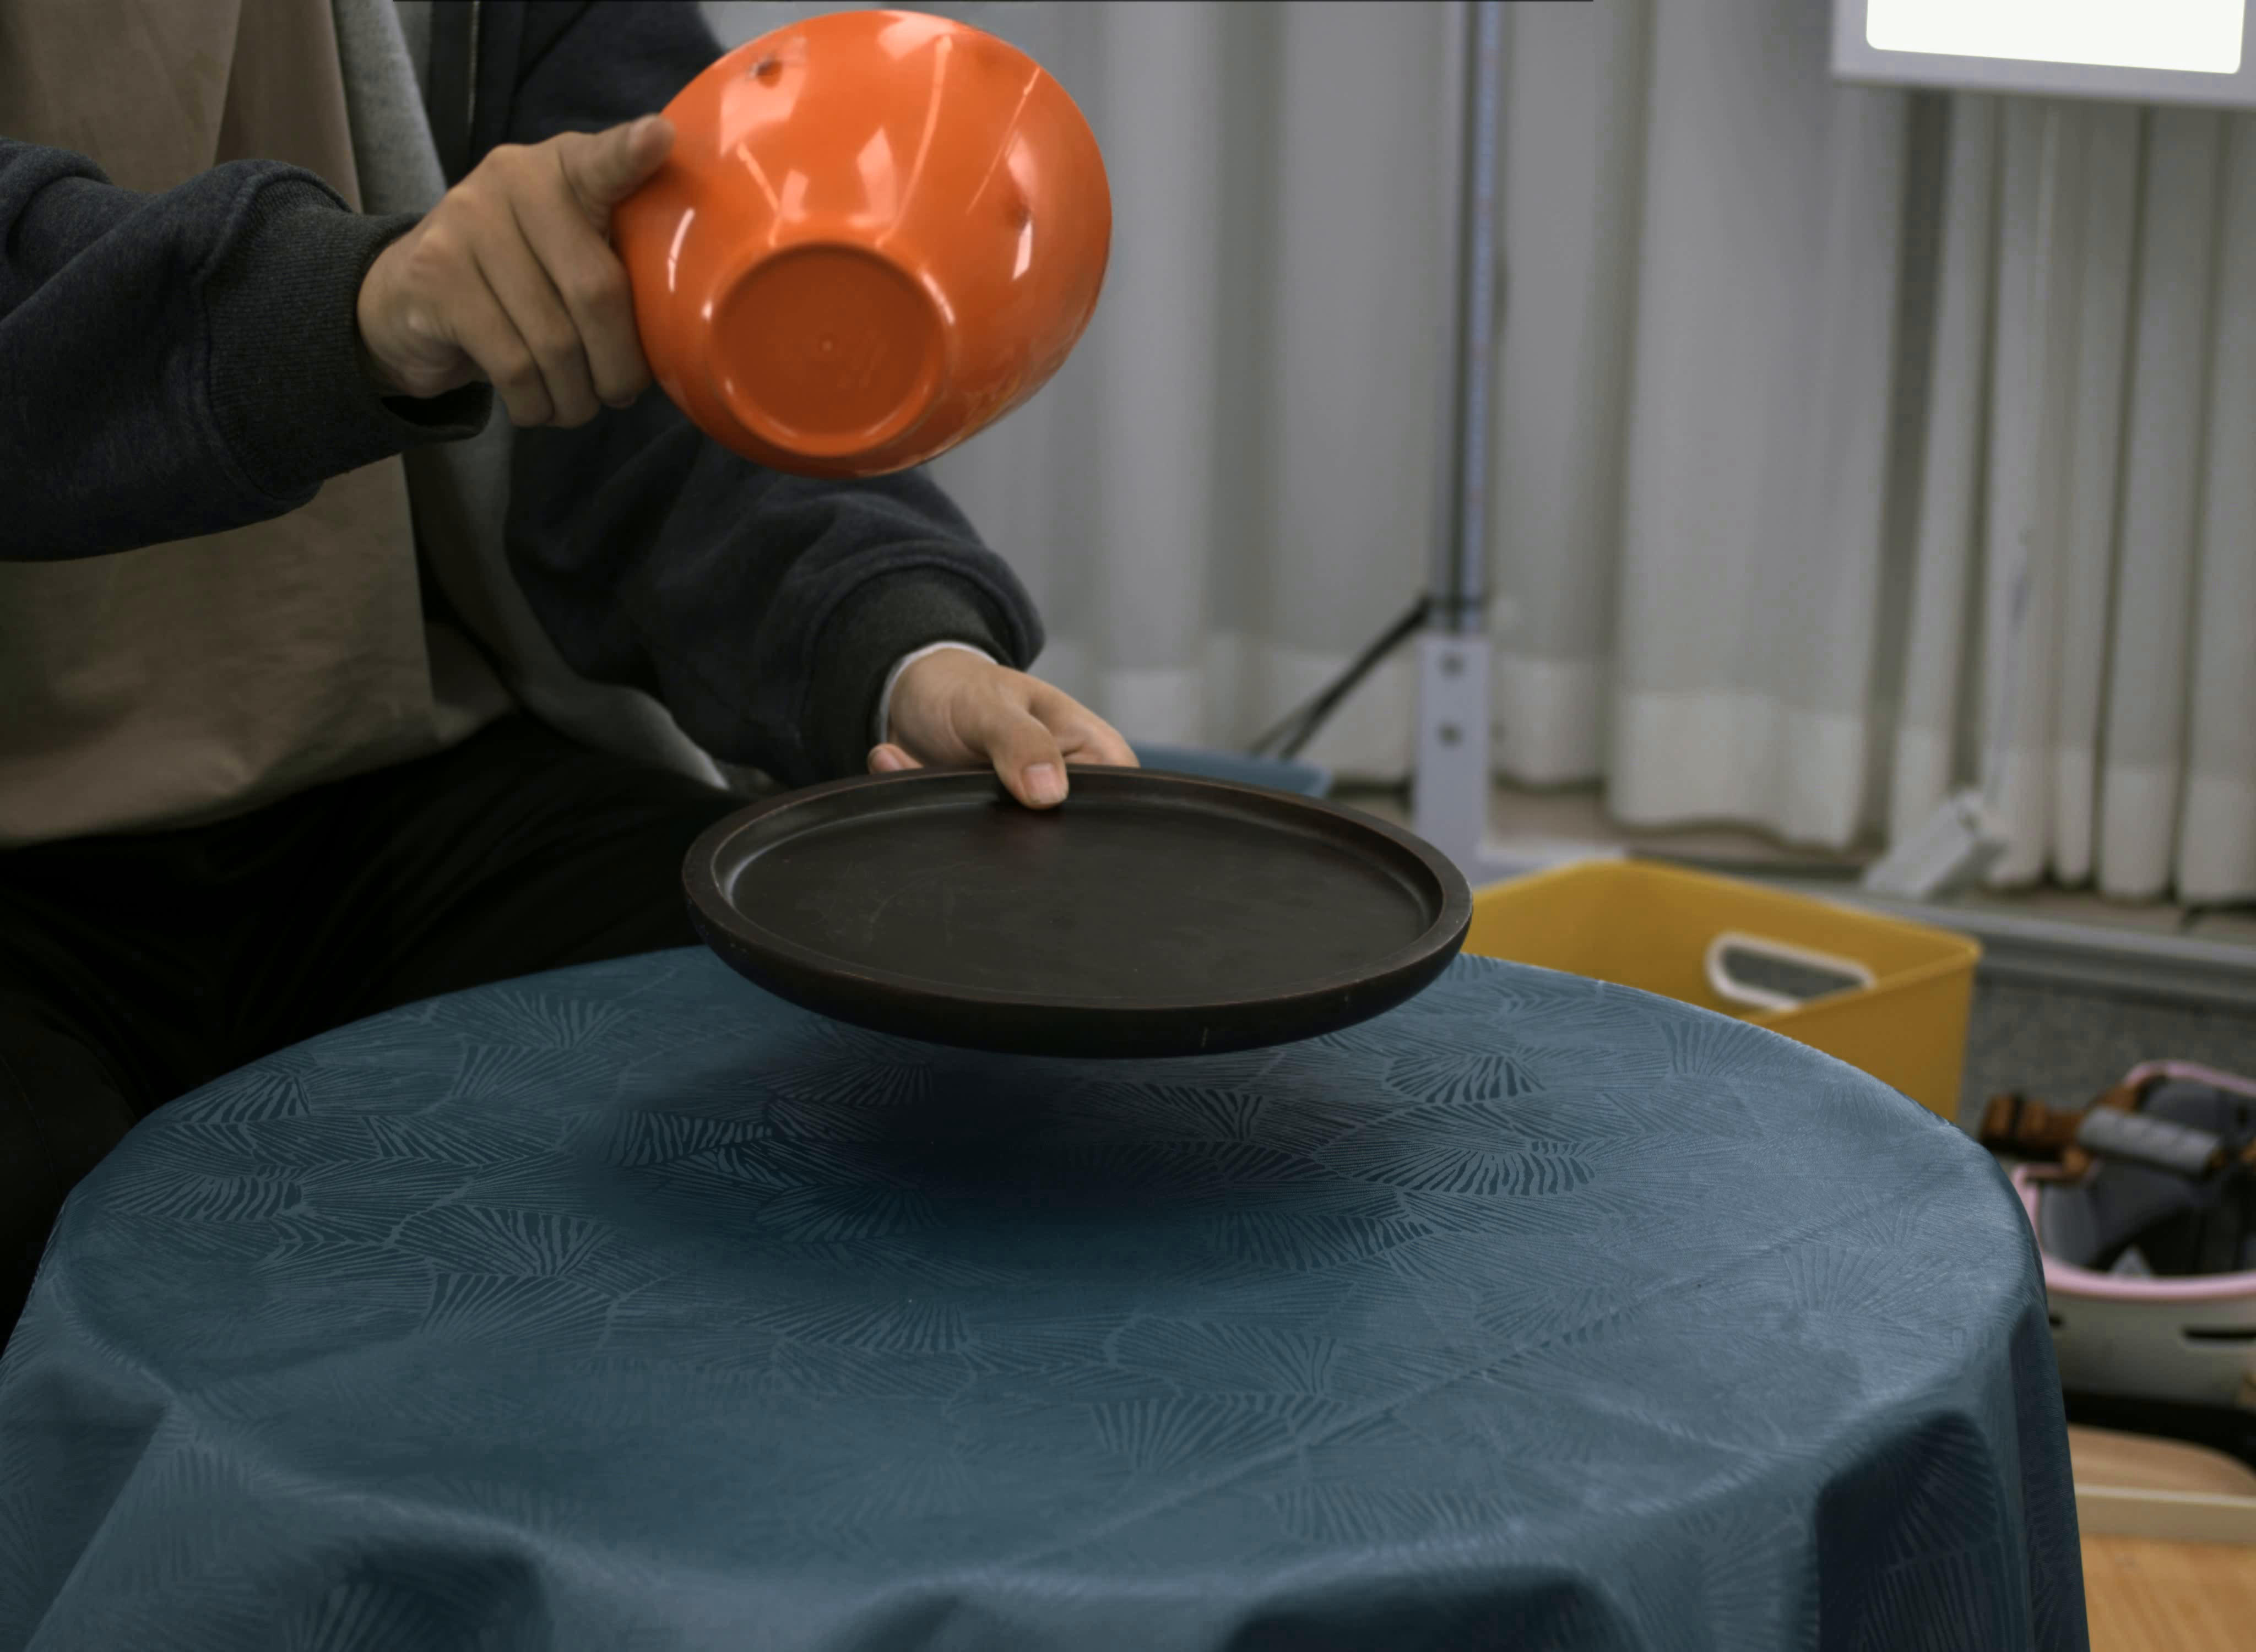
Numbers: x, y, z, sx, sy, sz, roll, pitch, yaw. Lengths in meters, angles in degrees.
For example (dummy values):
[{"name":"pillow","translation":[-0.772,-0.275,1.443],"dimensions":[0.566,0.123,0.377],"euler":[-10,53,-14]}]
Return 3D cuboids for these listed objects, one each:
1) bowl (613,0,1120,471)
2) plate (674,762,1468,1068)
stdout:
[{"name":"bowl","translation":[-0.074,-0.155,1.495],"dimensions":[0.147,0.149,0.104],"euler":[0,28,-2]},{"name":"plate","translation":[-0.017,0.026,1.677],"dimensions":[0.254,0.029,0.253],"euler":[2,18,0]}]
